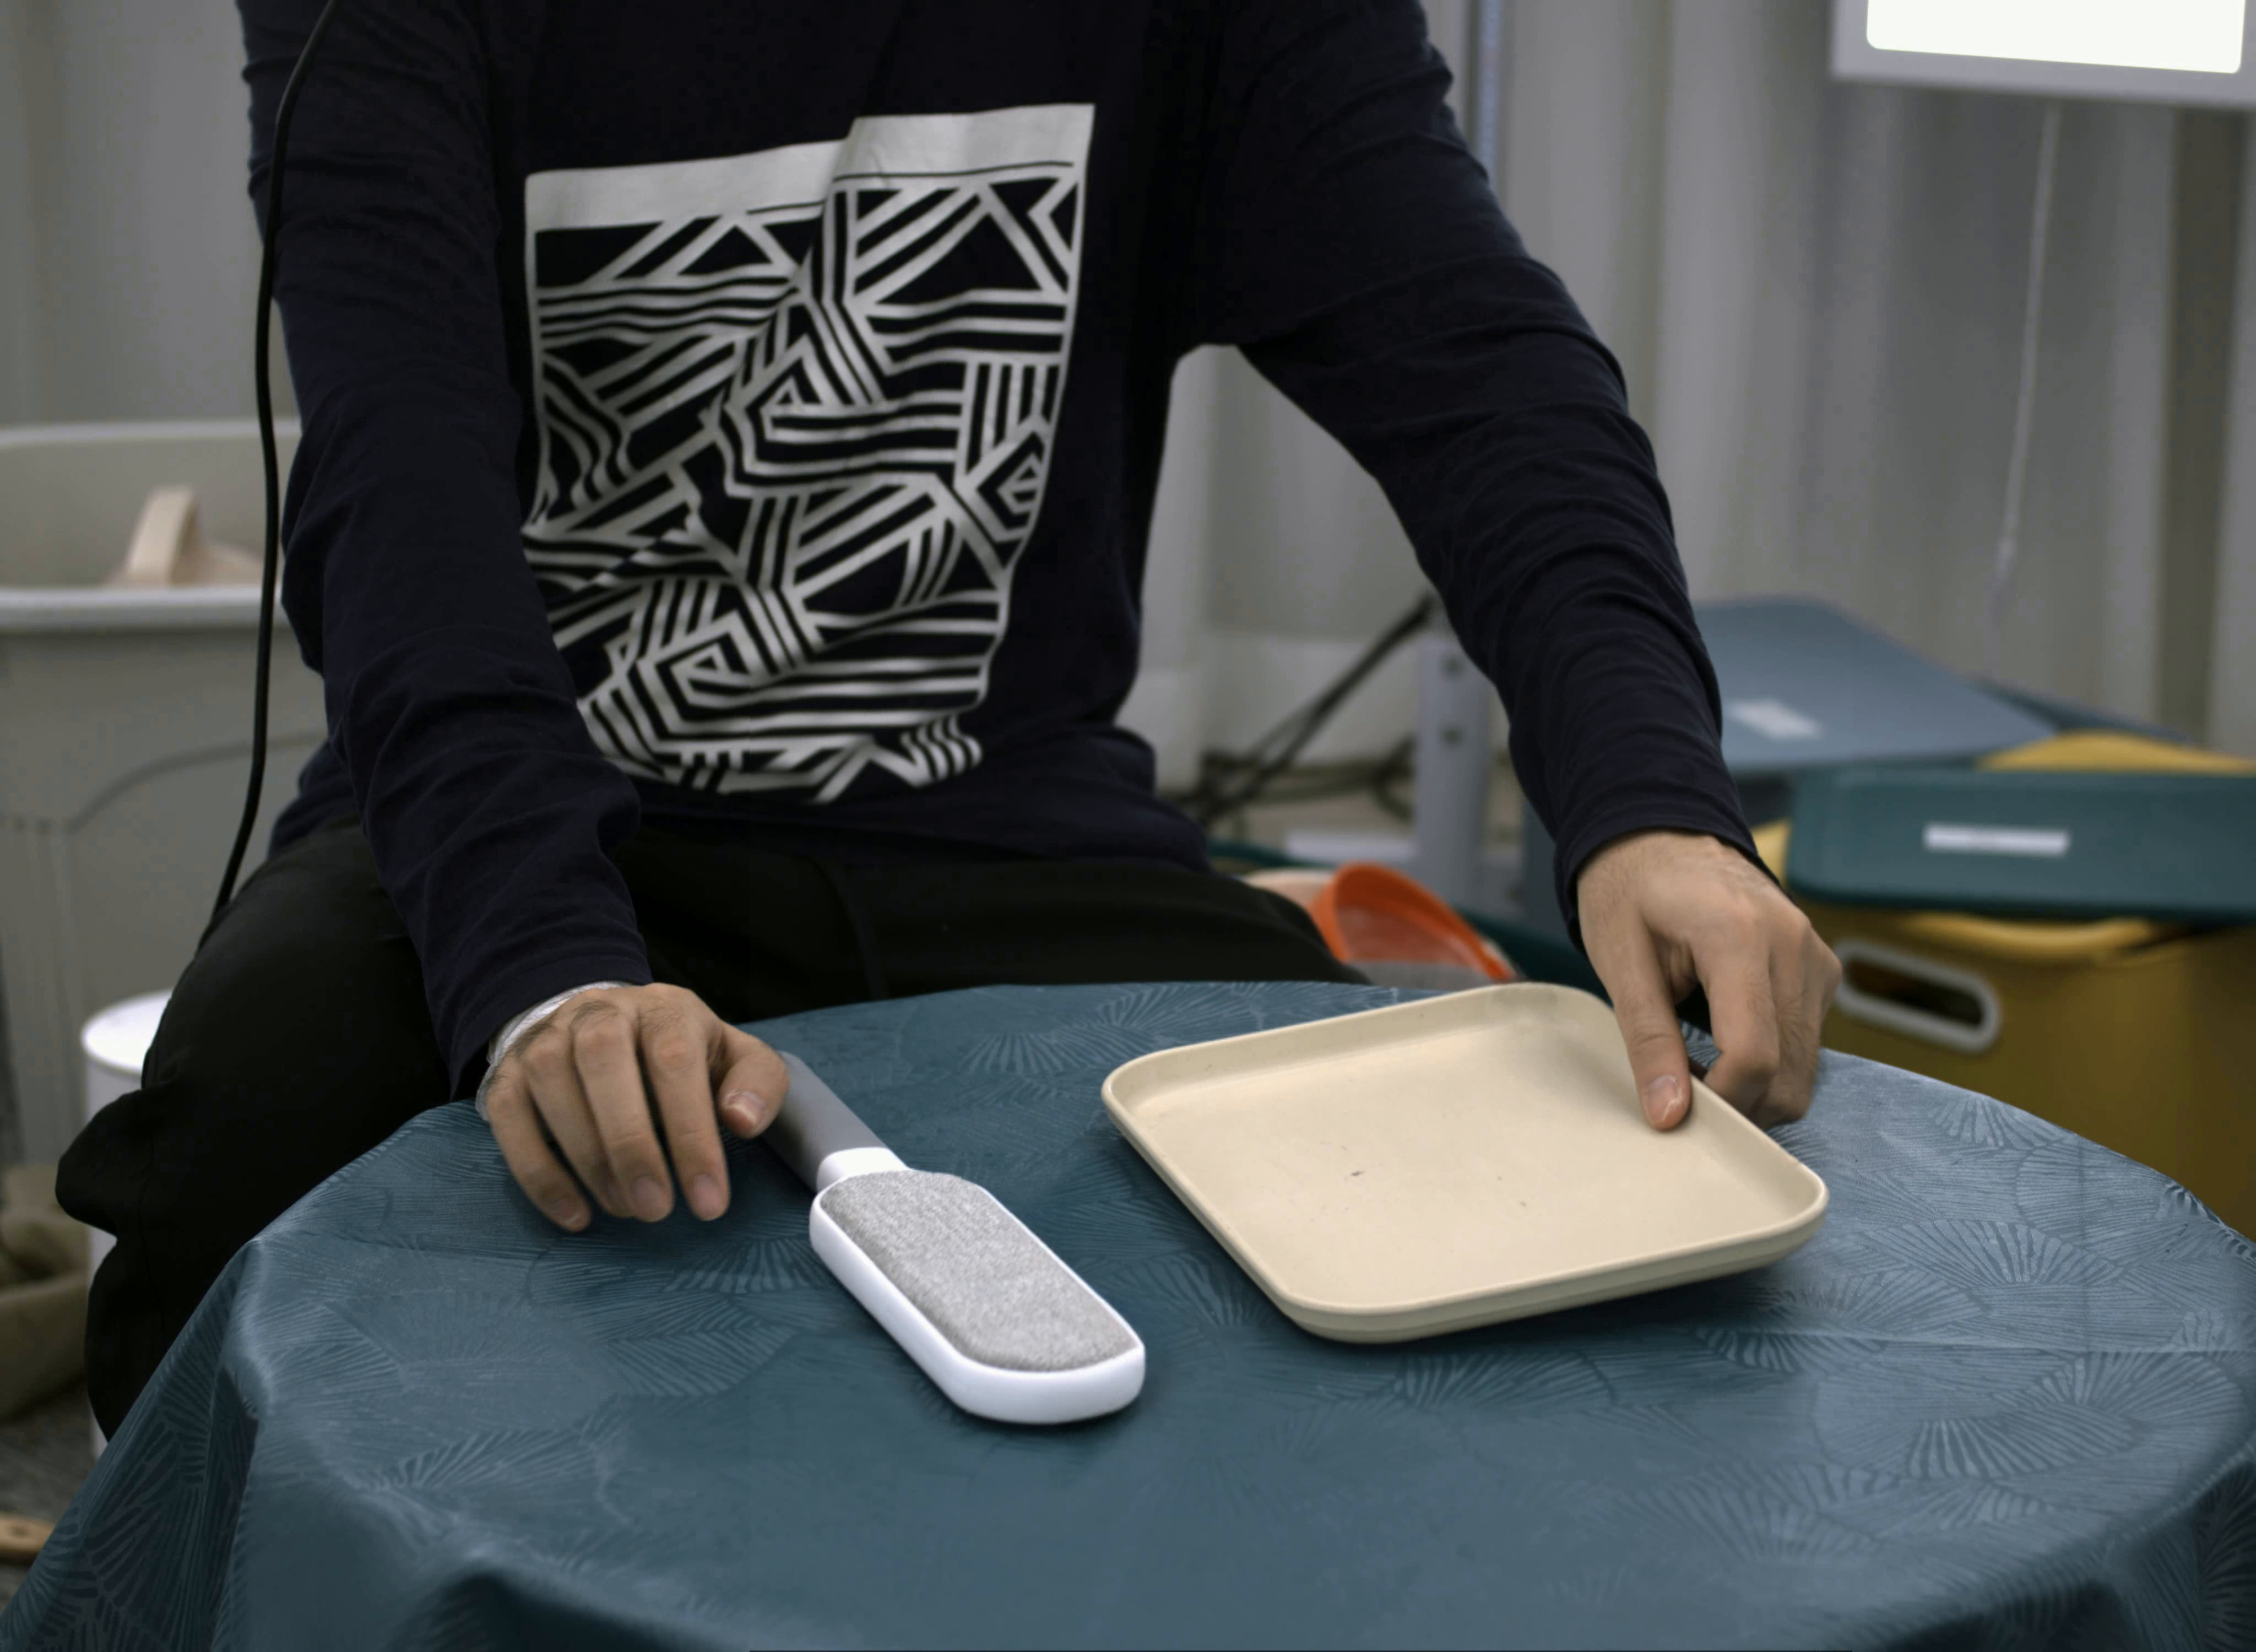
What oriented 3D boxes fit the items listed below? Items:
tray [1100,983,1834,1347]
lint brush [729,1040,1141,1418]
[{"bbox_3d":[0.099,0.101,1.607,0.171,0.017,0.237,-11,18,-15],"label":"tray"},{"bbox_3d":[-0.066,0.115,1.562,0.060,0.021,0.305,-10,18,-18],"label":"lint brush"}]
